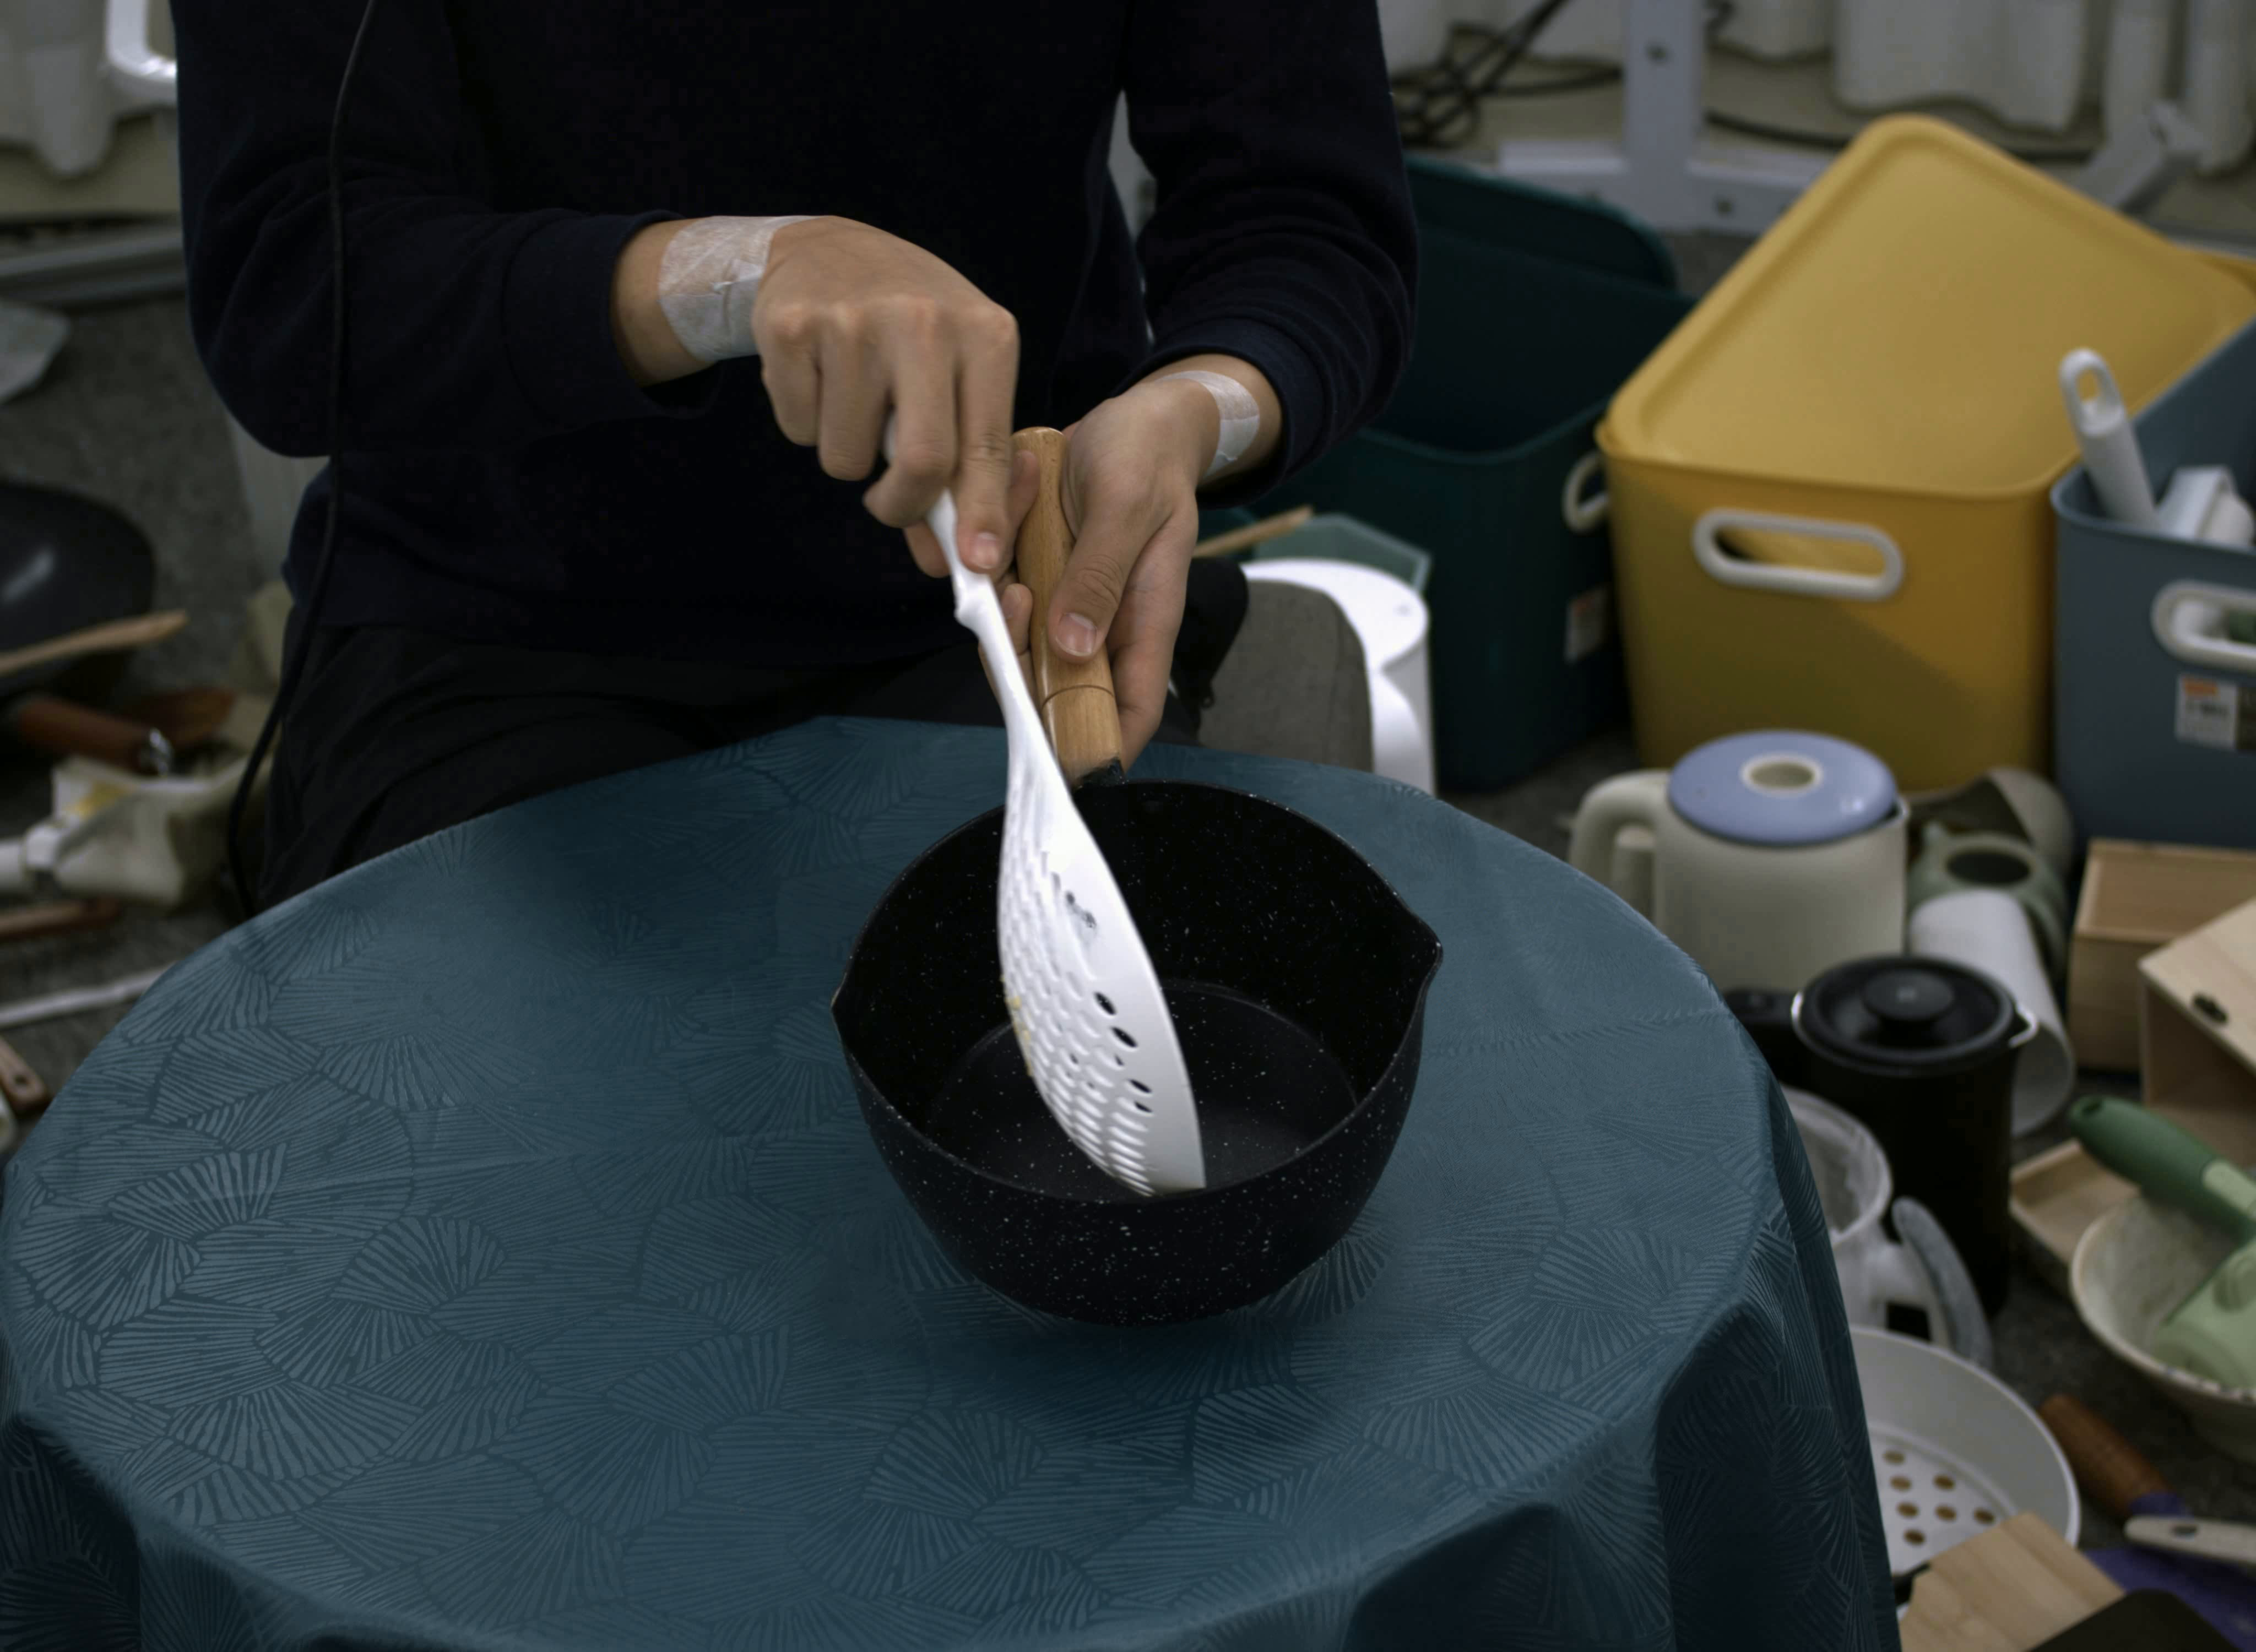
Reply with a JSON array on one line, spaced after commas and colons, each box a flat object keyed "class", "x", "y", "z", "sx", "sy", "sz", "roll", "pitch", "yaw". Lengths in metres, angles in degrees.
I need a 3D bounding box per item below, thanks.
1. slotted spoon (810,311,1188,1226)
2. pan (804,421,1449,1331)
[{"class": "slotted spoon", "x": -0.044, "y": -0.027, "z": 1.809, "sx": 0.050, "sy": 0.135, "sz": 0.354, "roll": -12, "pitch": 57, "yaw": -4}, {"class": "pan", "x": -0.009, "y": 0.015, "z": 1.866, "sx": 0.207, "sy": 0.106, "sz": 0.349, "roll": -9, "pitch": 45, "yaw": -4}]
